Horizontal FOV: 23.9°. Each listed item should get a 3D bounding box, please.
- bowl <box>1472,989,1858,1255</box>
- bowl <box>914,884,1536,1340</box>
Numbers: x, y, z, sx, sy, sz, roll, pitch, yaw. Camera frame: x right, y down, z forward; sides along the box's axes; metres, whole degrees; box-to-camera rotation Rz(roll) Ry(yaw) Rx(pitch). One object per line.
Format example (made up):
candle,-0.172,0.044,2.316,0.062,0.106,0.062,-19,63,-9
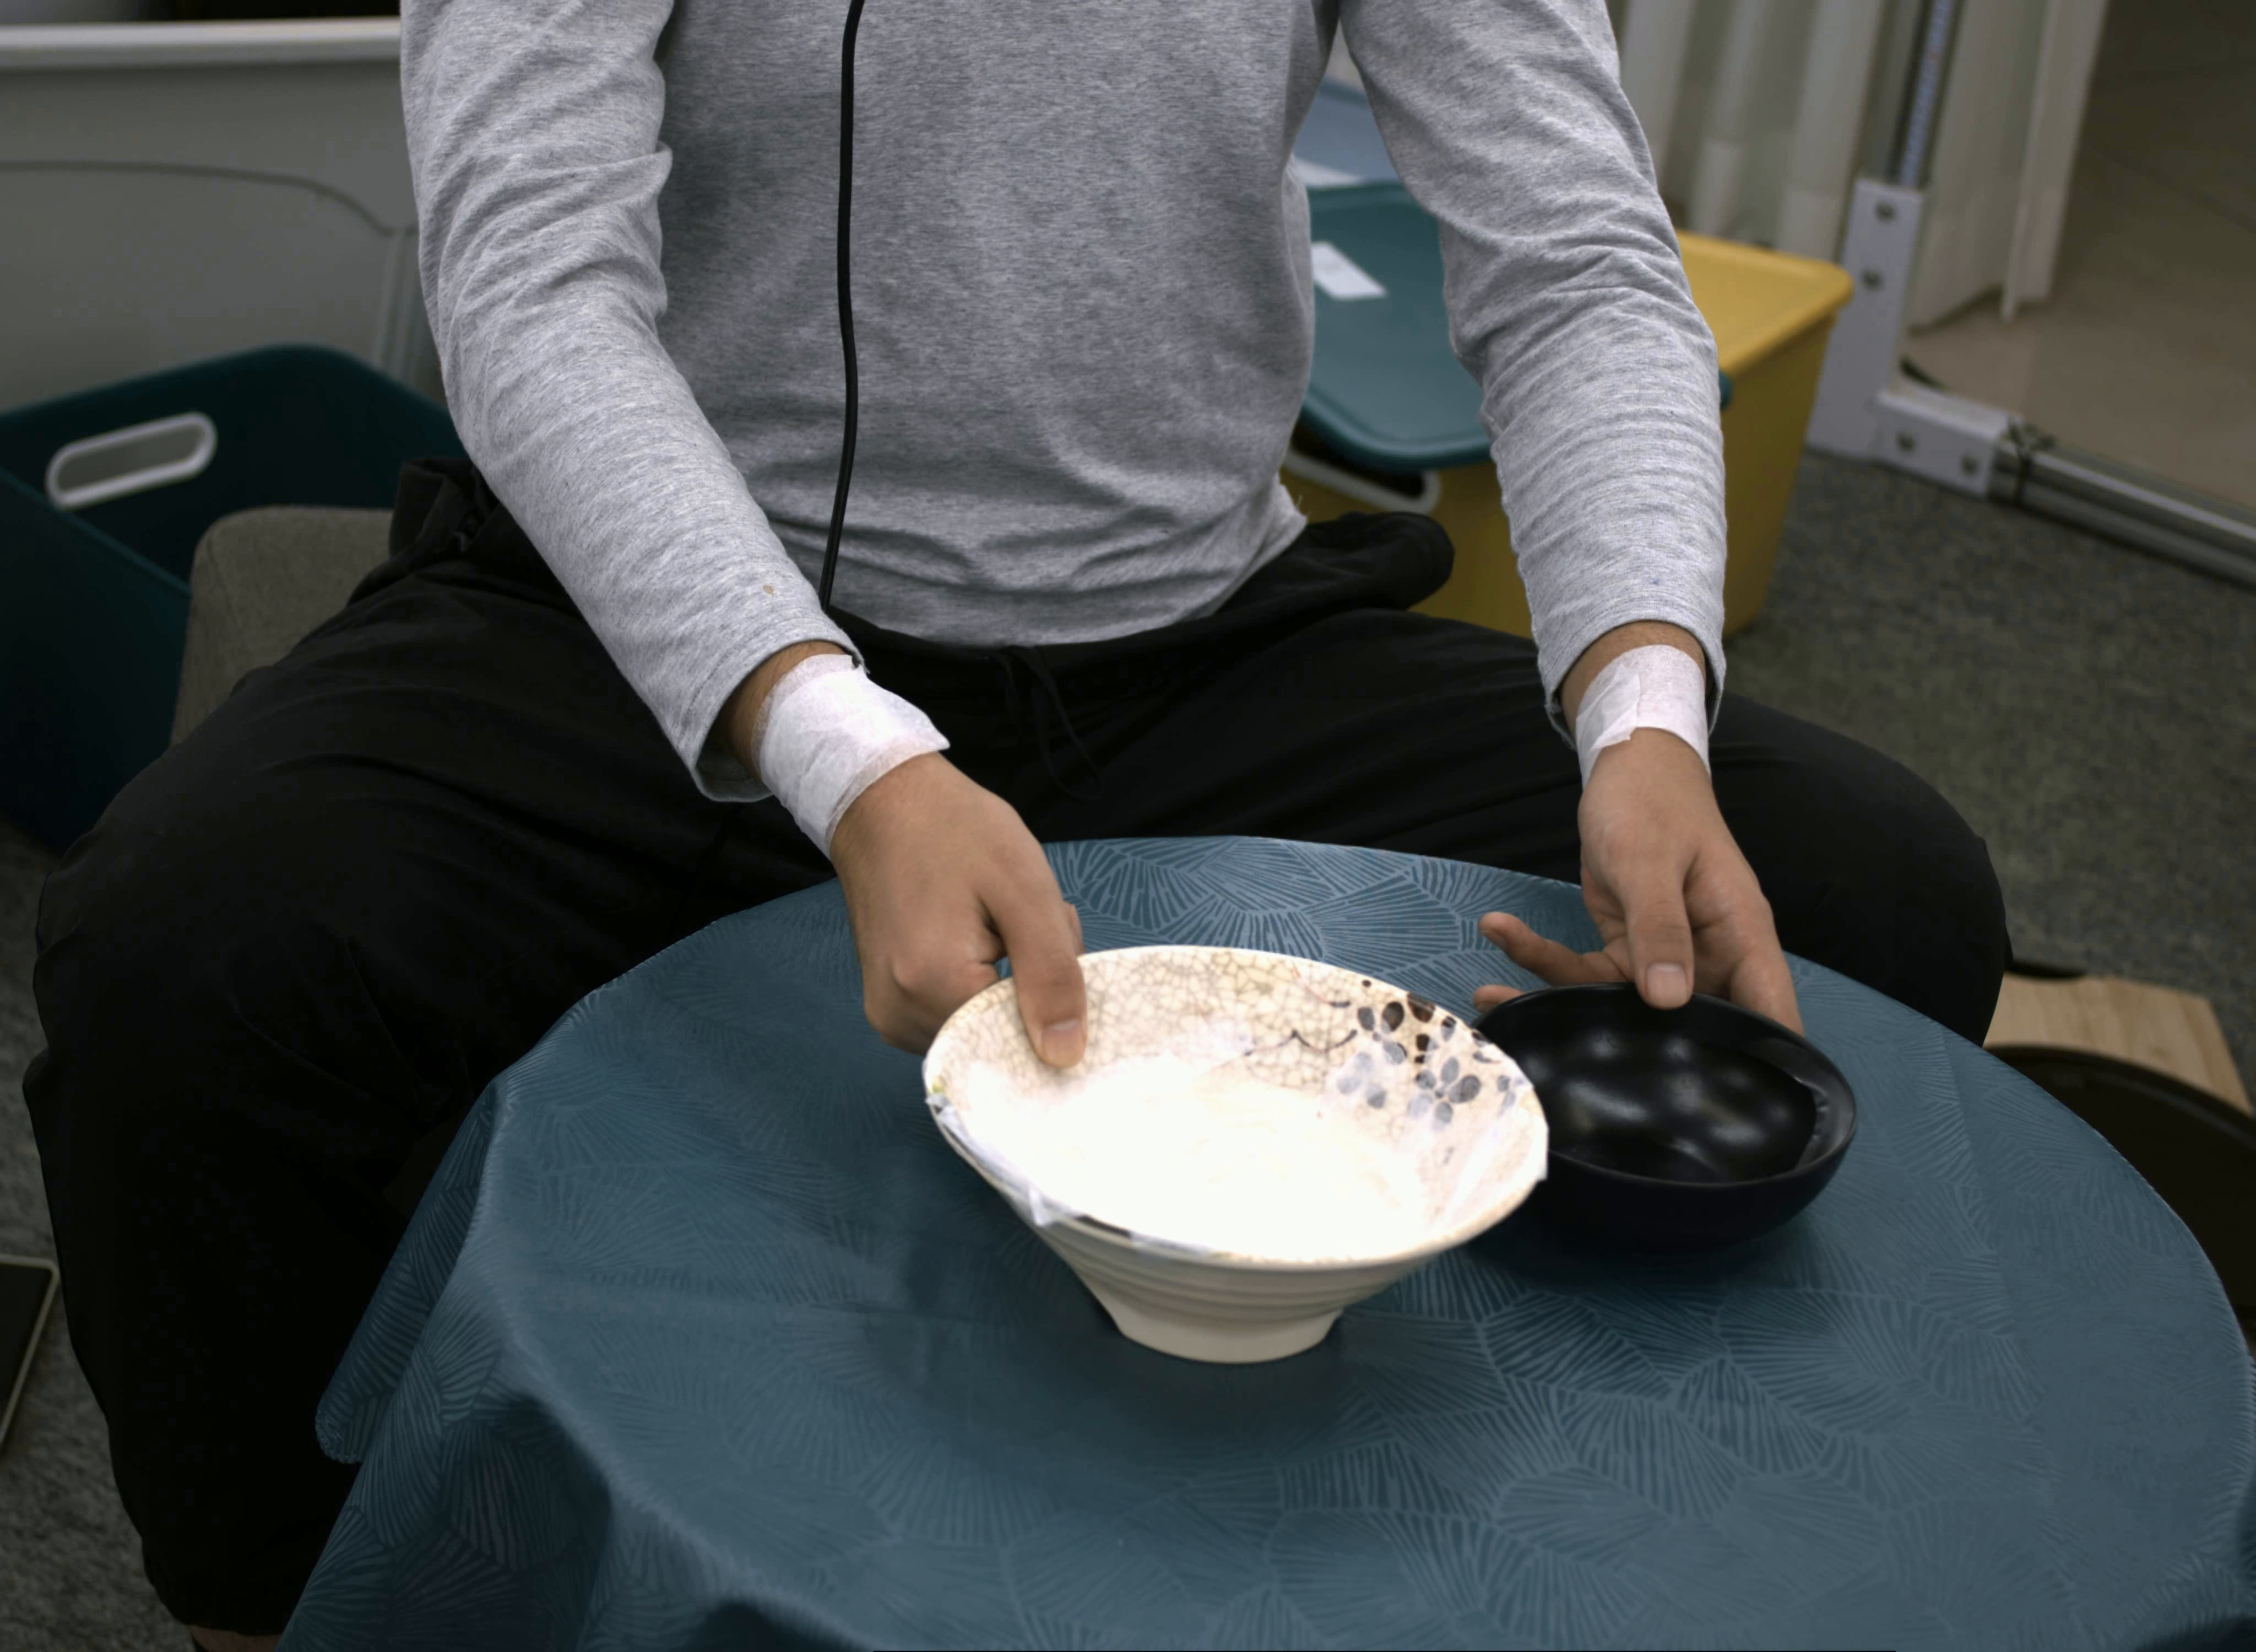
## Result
bowl,0.177,0.109,1.823,0.139,0.049,0.141,7,24,-3
bowl,0.025,0.109,1.723,0.203,0.077,0.205,8,34,-6
